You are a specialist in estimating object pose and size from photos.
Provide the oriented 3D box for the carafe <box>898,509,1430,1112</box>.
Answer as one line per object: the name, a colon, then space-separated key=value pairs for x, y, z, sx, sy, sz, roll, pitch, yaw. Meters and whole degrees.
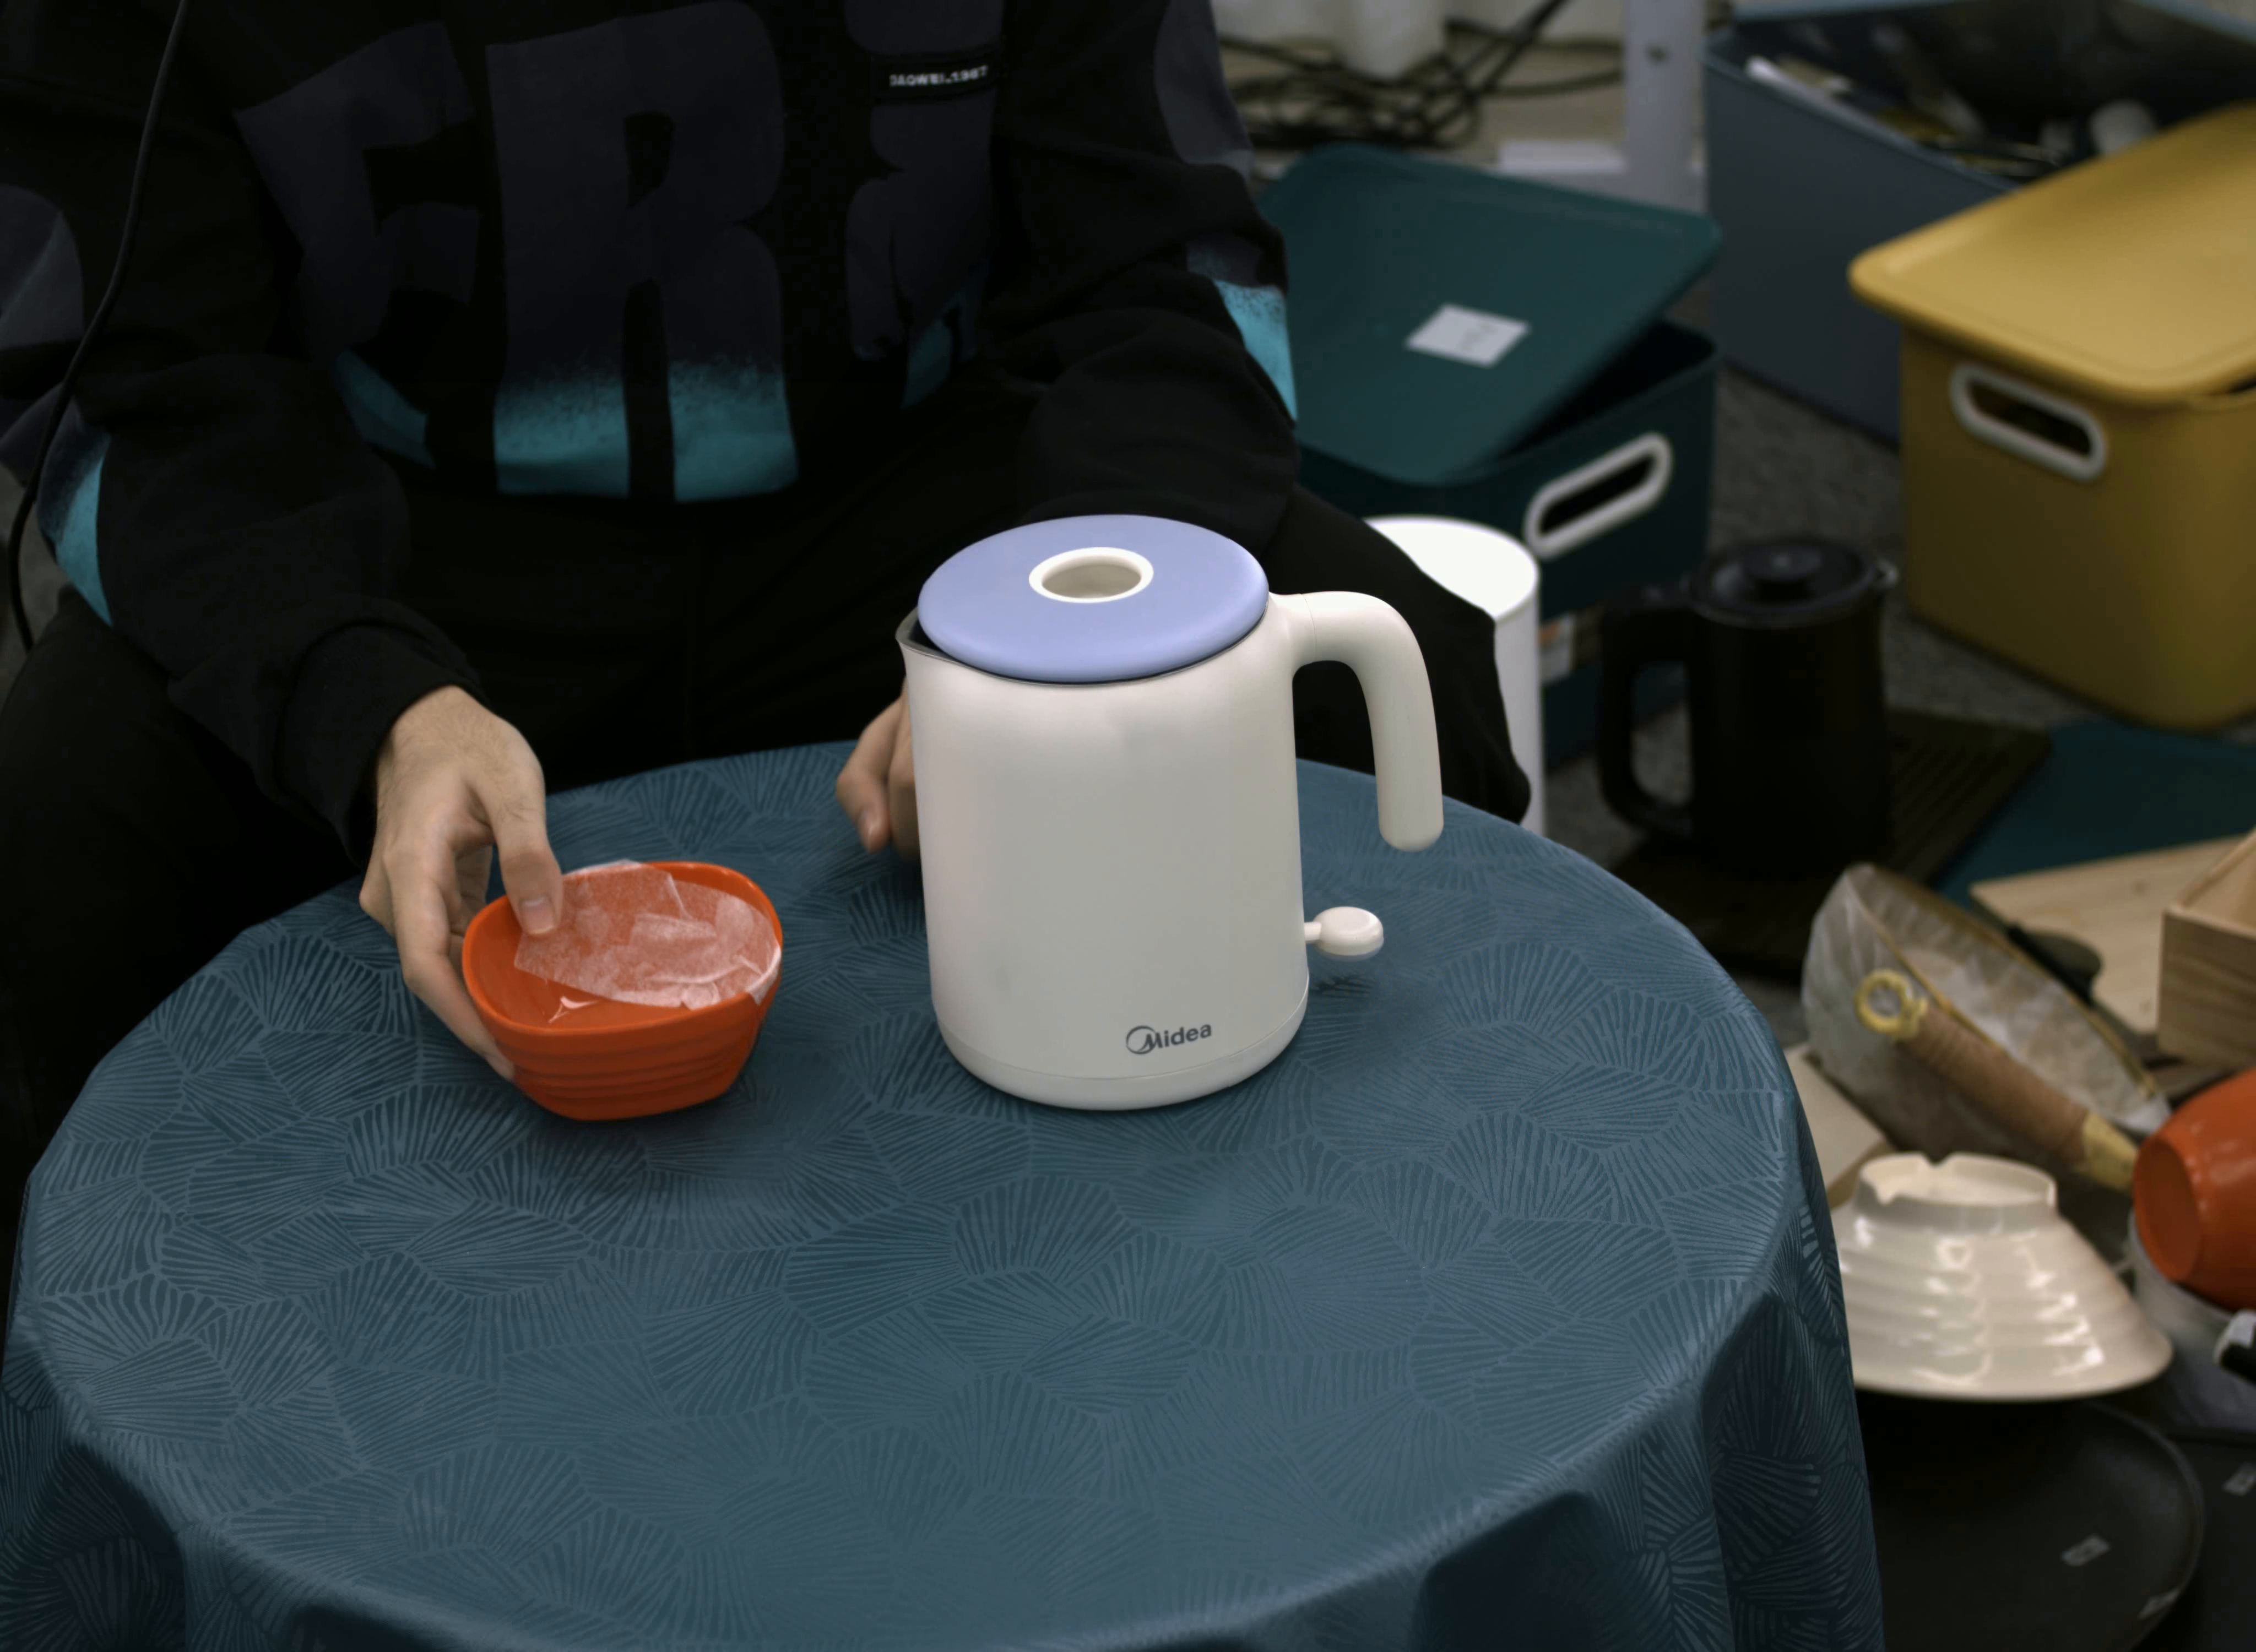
carafe: x=0.015 y=-0.009 z=1.929 sx=0.191 sy=0.180 sz=0.133 roll=-9 pitch=28 yaw=-16

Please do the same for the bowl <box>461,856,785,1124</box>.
bowl: x=-0.170 y=0.061 z=1.927 sx=0.118 sy=0.051 sz=0.121 roll=-3 pitch=31 yaw=2
